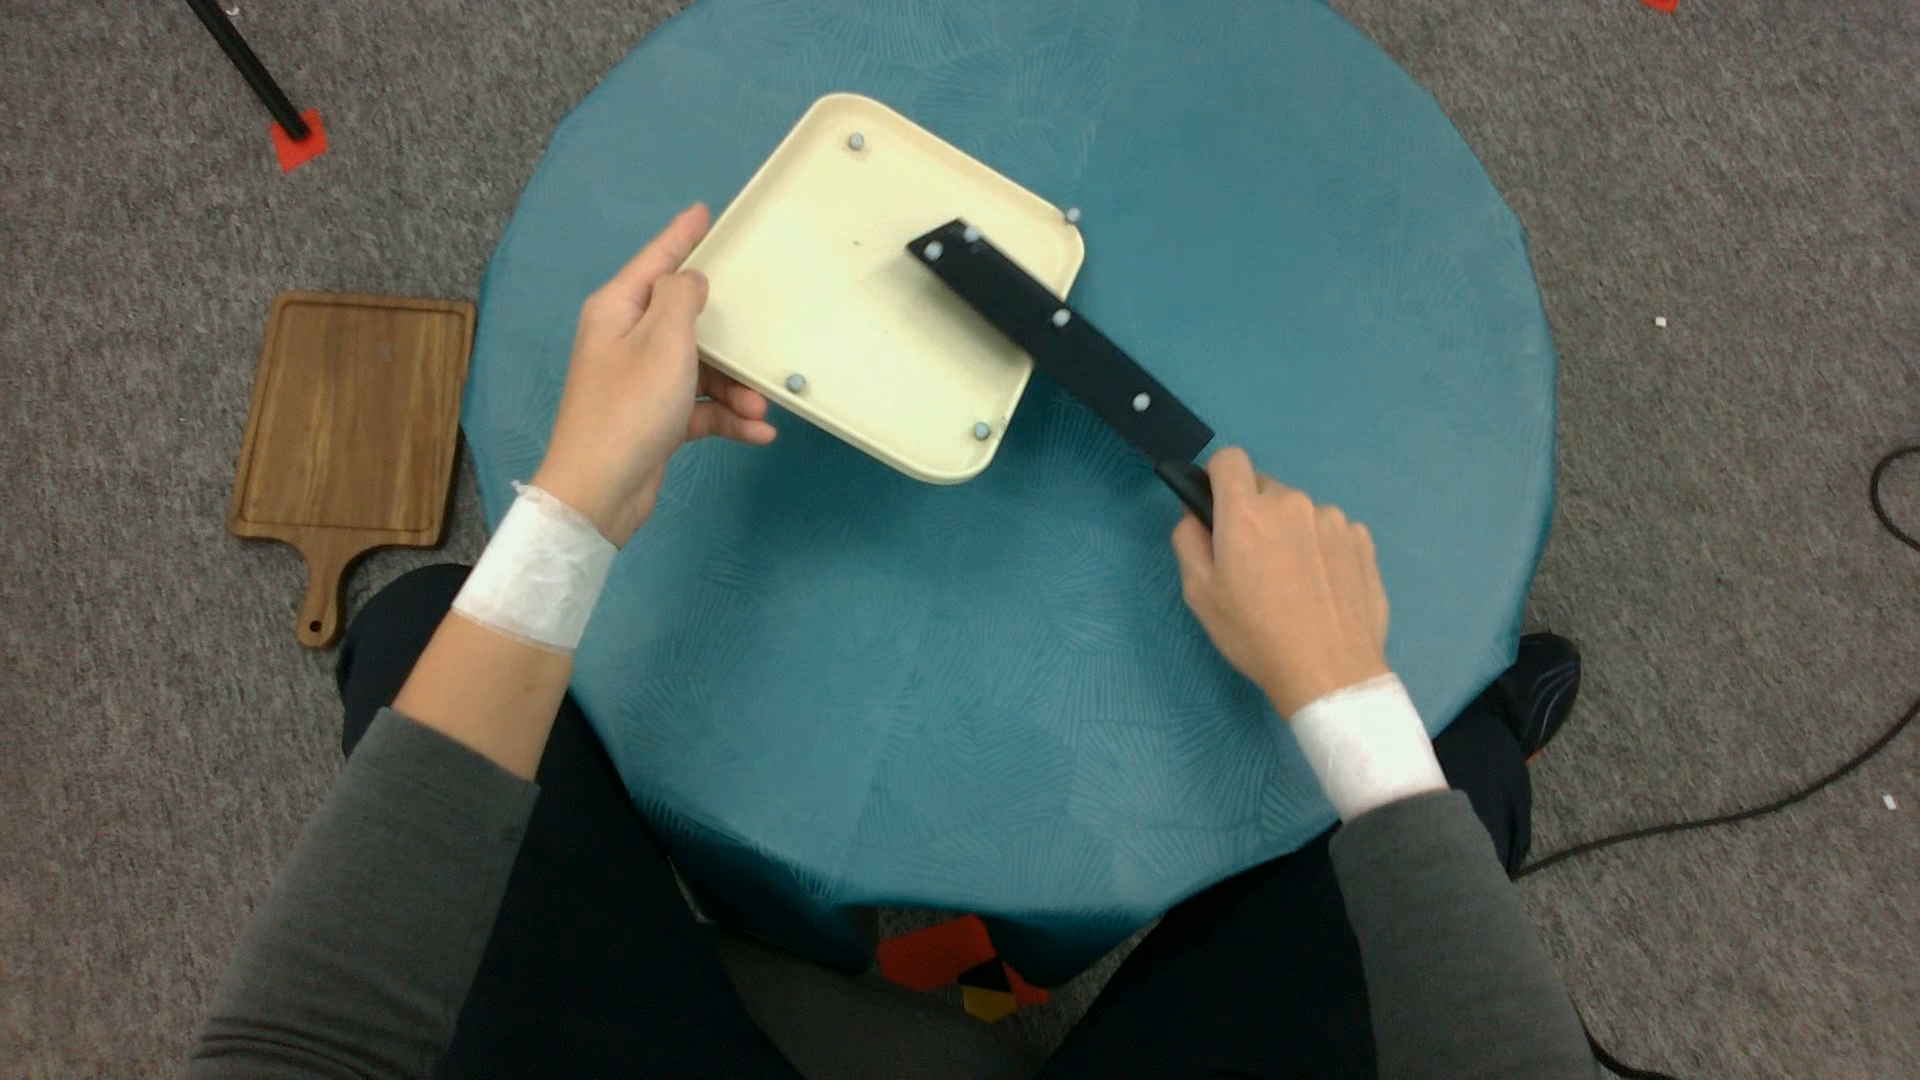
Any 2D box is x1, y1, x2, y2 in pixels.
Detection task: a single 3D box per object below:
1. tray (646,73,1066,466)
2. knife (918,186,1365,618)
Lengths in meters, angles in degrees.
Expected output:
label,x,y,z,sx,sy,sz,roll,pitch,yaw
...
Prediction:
label,x,y,z,sx,sy,sz,roll,pitch,yaw
tray,-0.043,-0.143,0.699,0.171,0.017,0.241,29,47,-6
knife,0.095,-0.075,0.708,0.302,0.021,0.081,48,40,10
